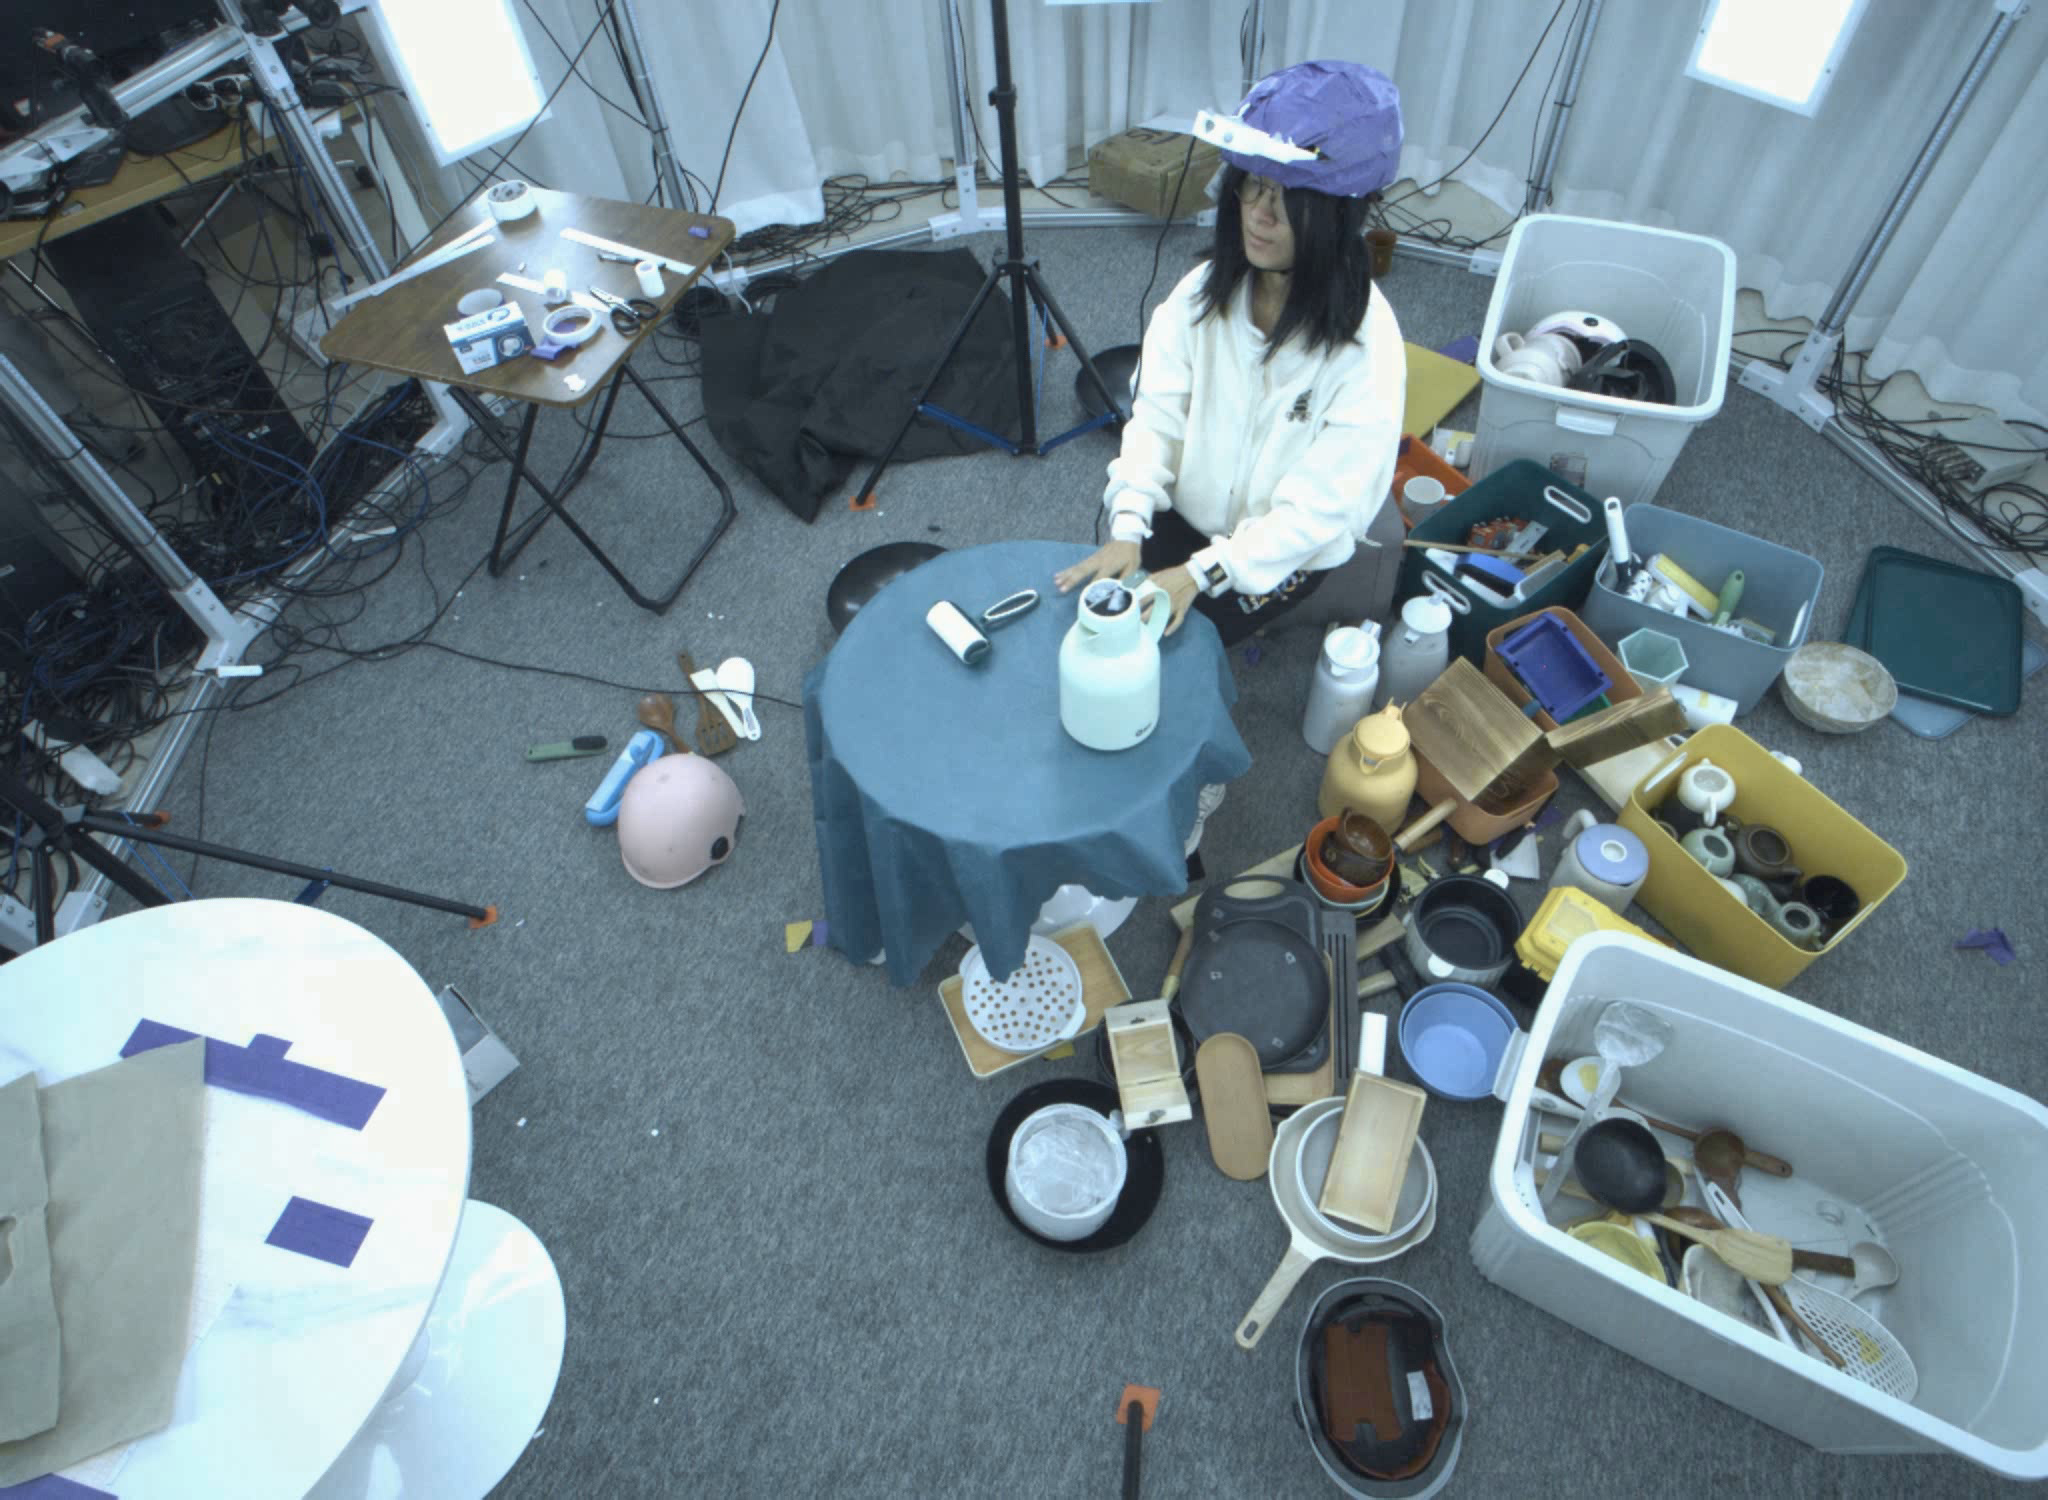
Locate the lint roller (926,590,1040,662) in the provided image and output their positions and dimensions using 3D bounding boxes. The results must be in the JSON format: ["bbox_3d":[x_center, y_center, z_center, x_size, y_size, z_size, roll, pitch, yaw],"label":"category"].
[{"bbox_3d":[-0.050,-0.217,1.913,0.181,0.049,0.132,-32,61,-19],"label":"lint roller"}]

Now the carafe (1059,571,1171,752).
[{"bbox_3d":[0.130,-0.131,1.722,0.188,0.259,0.141,-37,59,-25],"label":"carafe"}]
